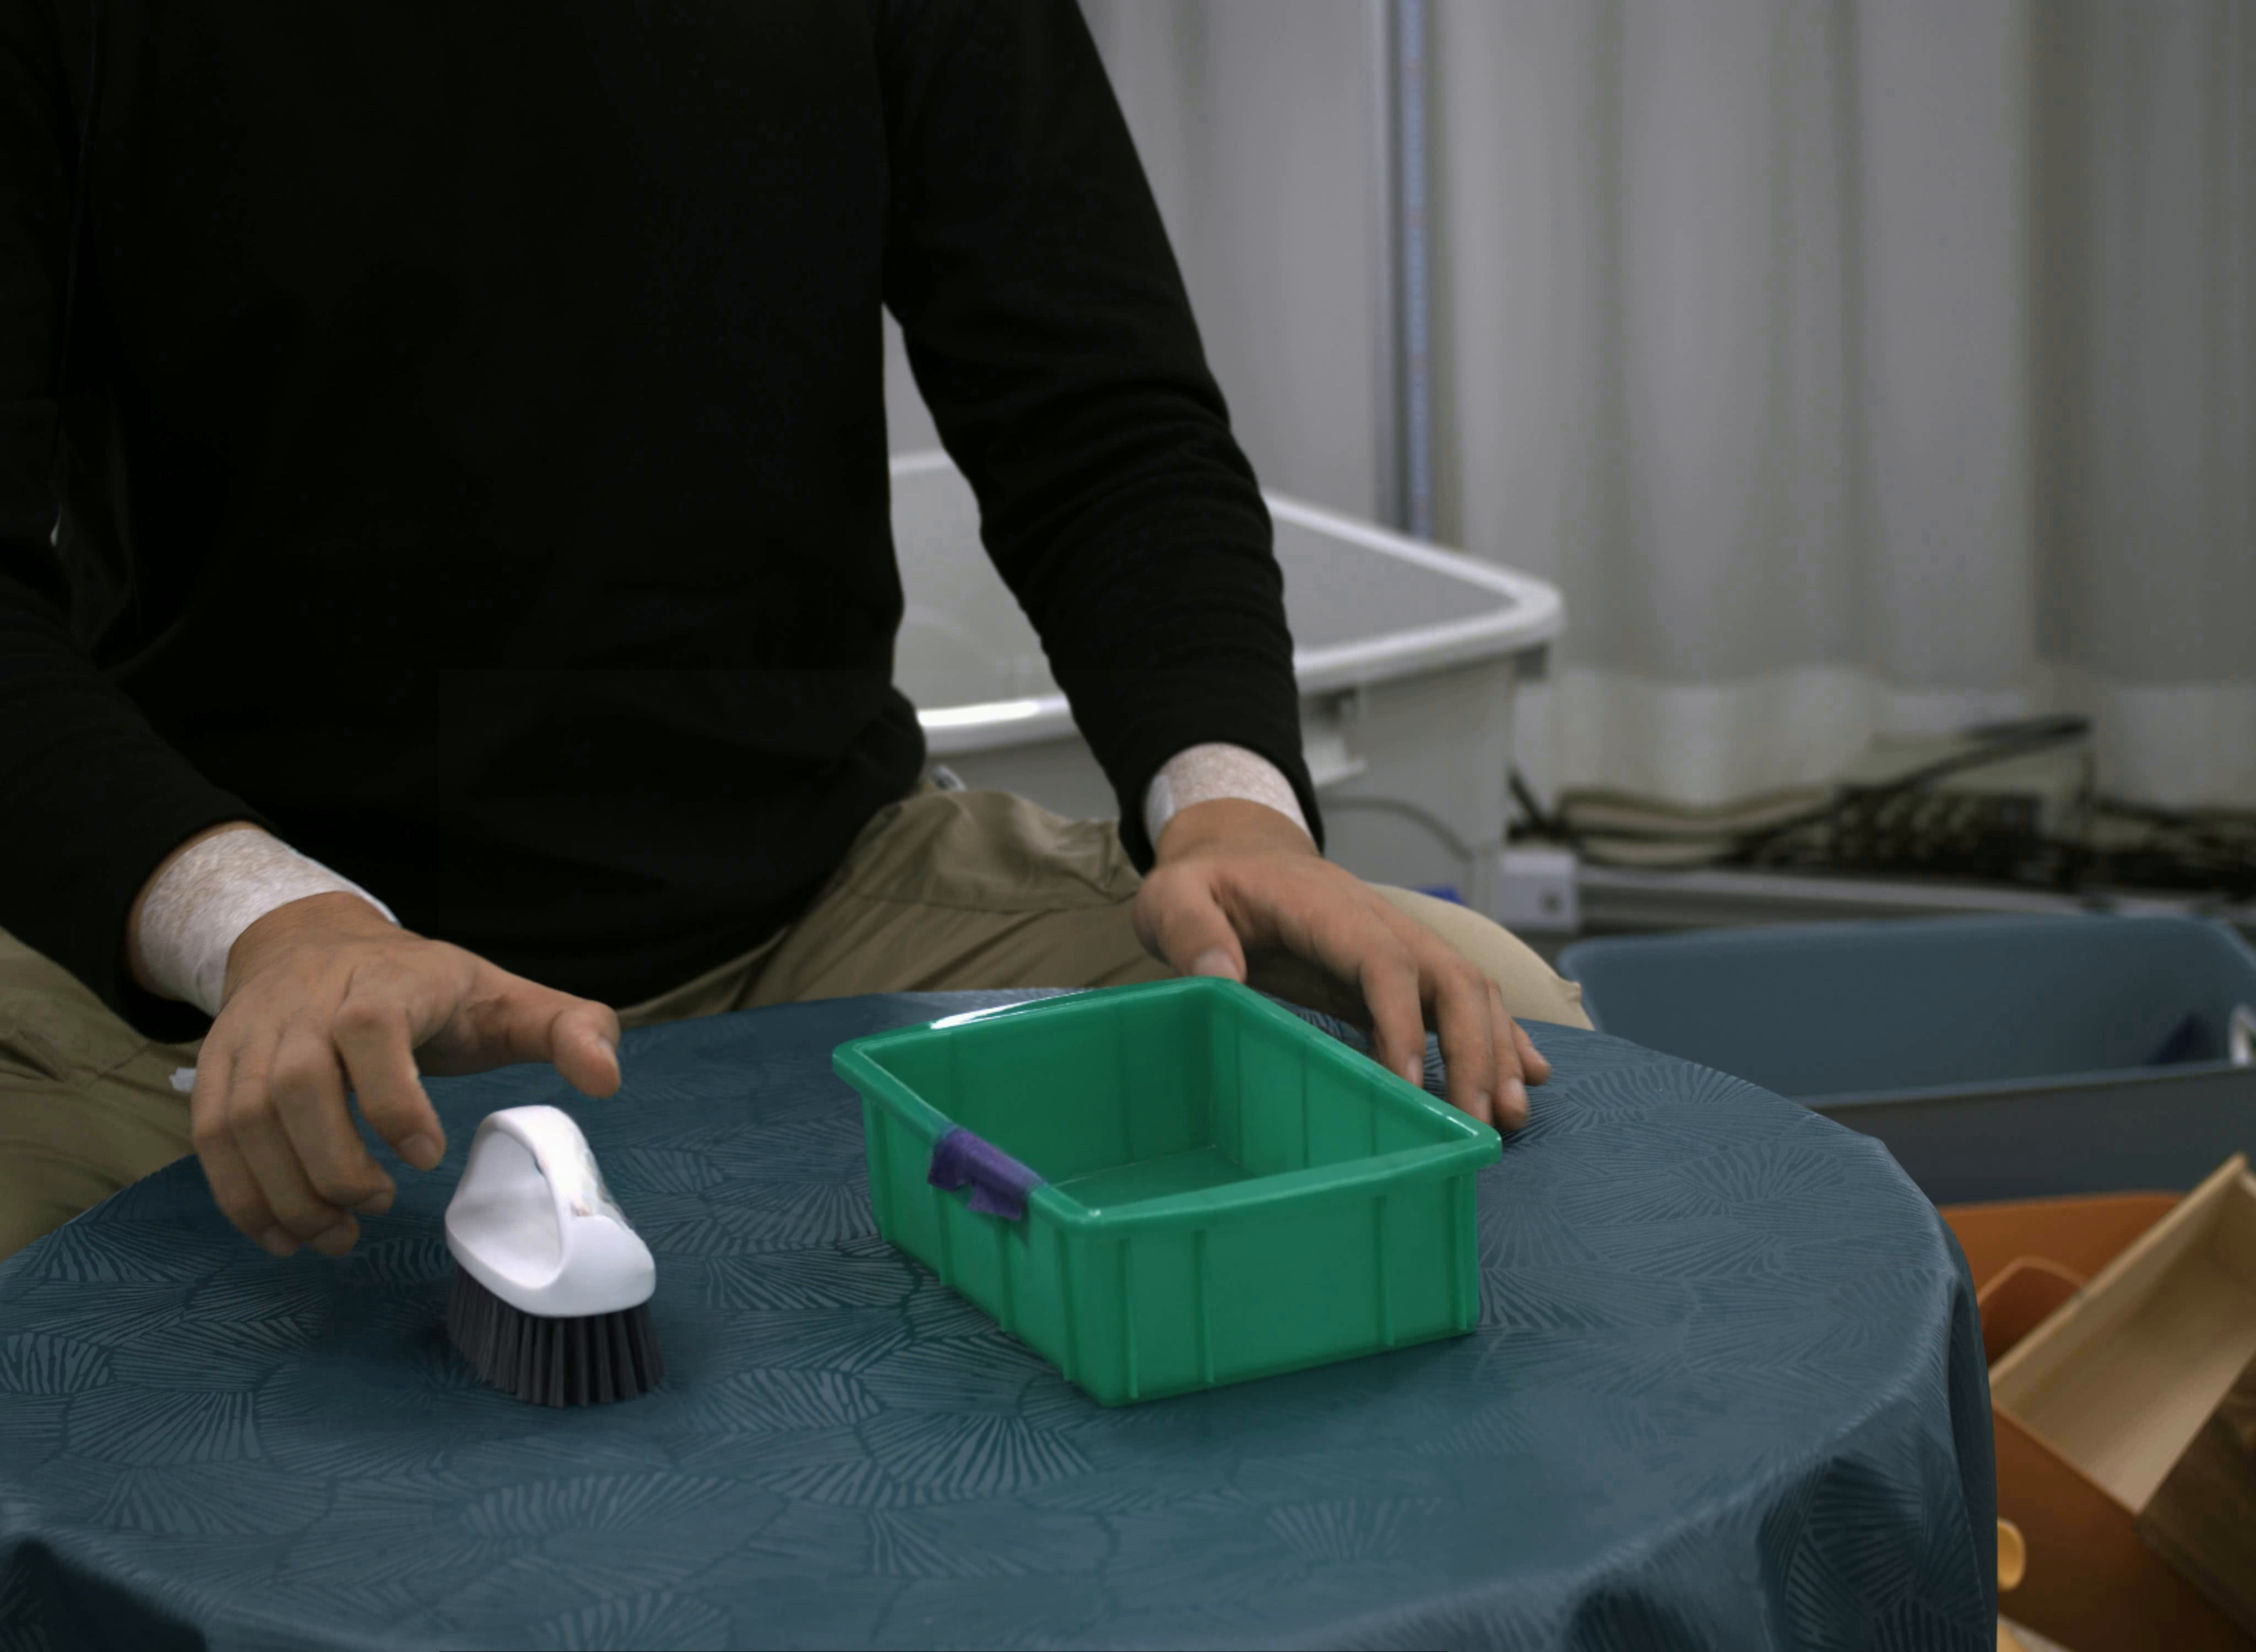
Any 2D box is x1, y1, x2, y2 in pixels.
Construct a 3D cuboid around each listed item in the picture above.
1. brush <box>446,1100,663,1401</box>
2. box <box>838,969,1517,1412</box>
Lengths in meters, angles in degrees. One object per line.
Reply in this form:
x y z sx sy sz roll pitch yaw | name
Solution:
-0.169 0.118 1.590 0.050 0.072 0.100 -8 15 -21 | brush
0.012 0.107 1.621 0.138 0.065 0.212 -11 18 -23 | box
